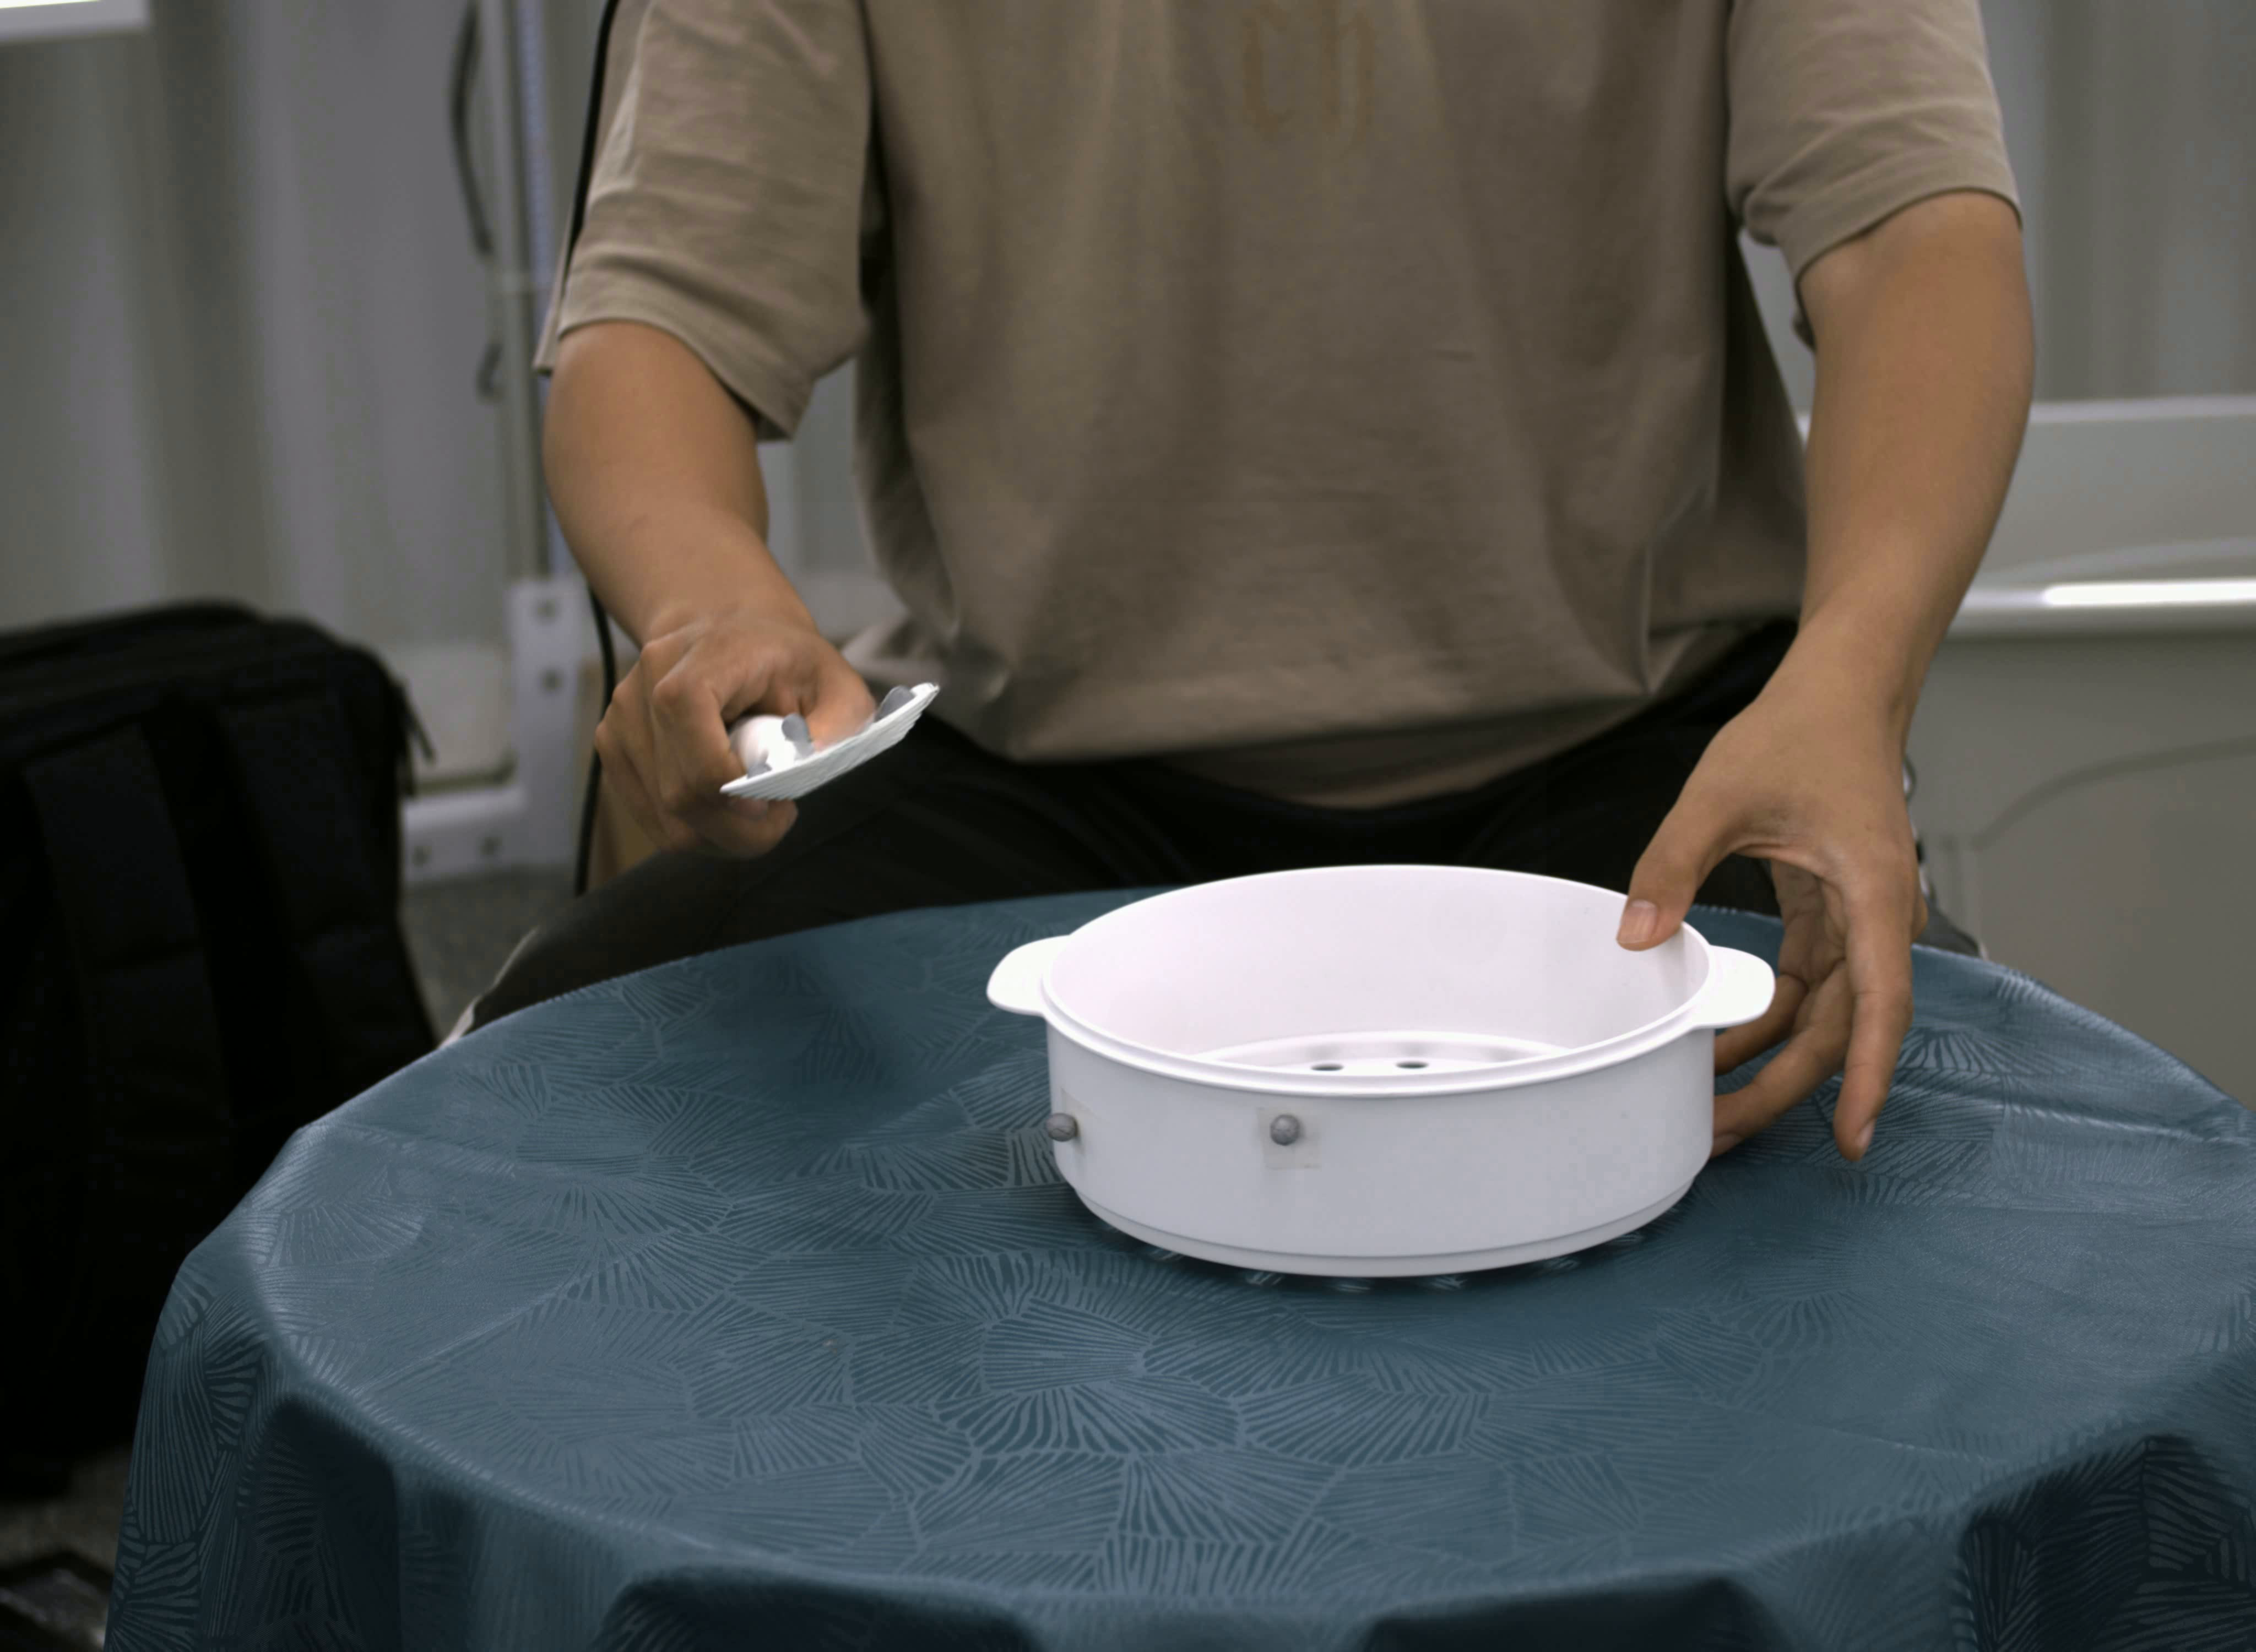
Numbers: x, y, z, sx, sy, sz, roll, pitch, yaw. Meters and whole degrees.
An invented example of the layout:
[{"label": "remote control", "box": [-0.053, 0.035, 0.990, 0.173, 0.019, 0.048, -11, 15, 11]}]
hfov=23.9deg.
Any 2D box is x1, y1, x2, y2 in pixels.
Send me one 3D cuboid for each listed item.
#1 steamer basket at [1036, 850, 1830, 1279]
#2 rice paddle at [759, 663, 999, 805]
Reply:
[{"label": "steamer basket", "box": [0.088, 0.070, 1.546, 0.231, 0.069, 0.201, 3, 18, 10]}, {"label": "rice paddle", "box": [-0.081, -0.028, 1.602, 0.068, 0.029, 0.207, -30, 4, -12]}]
